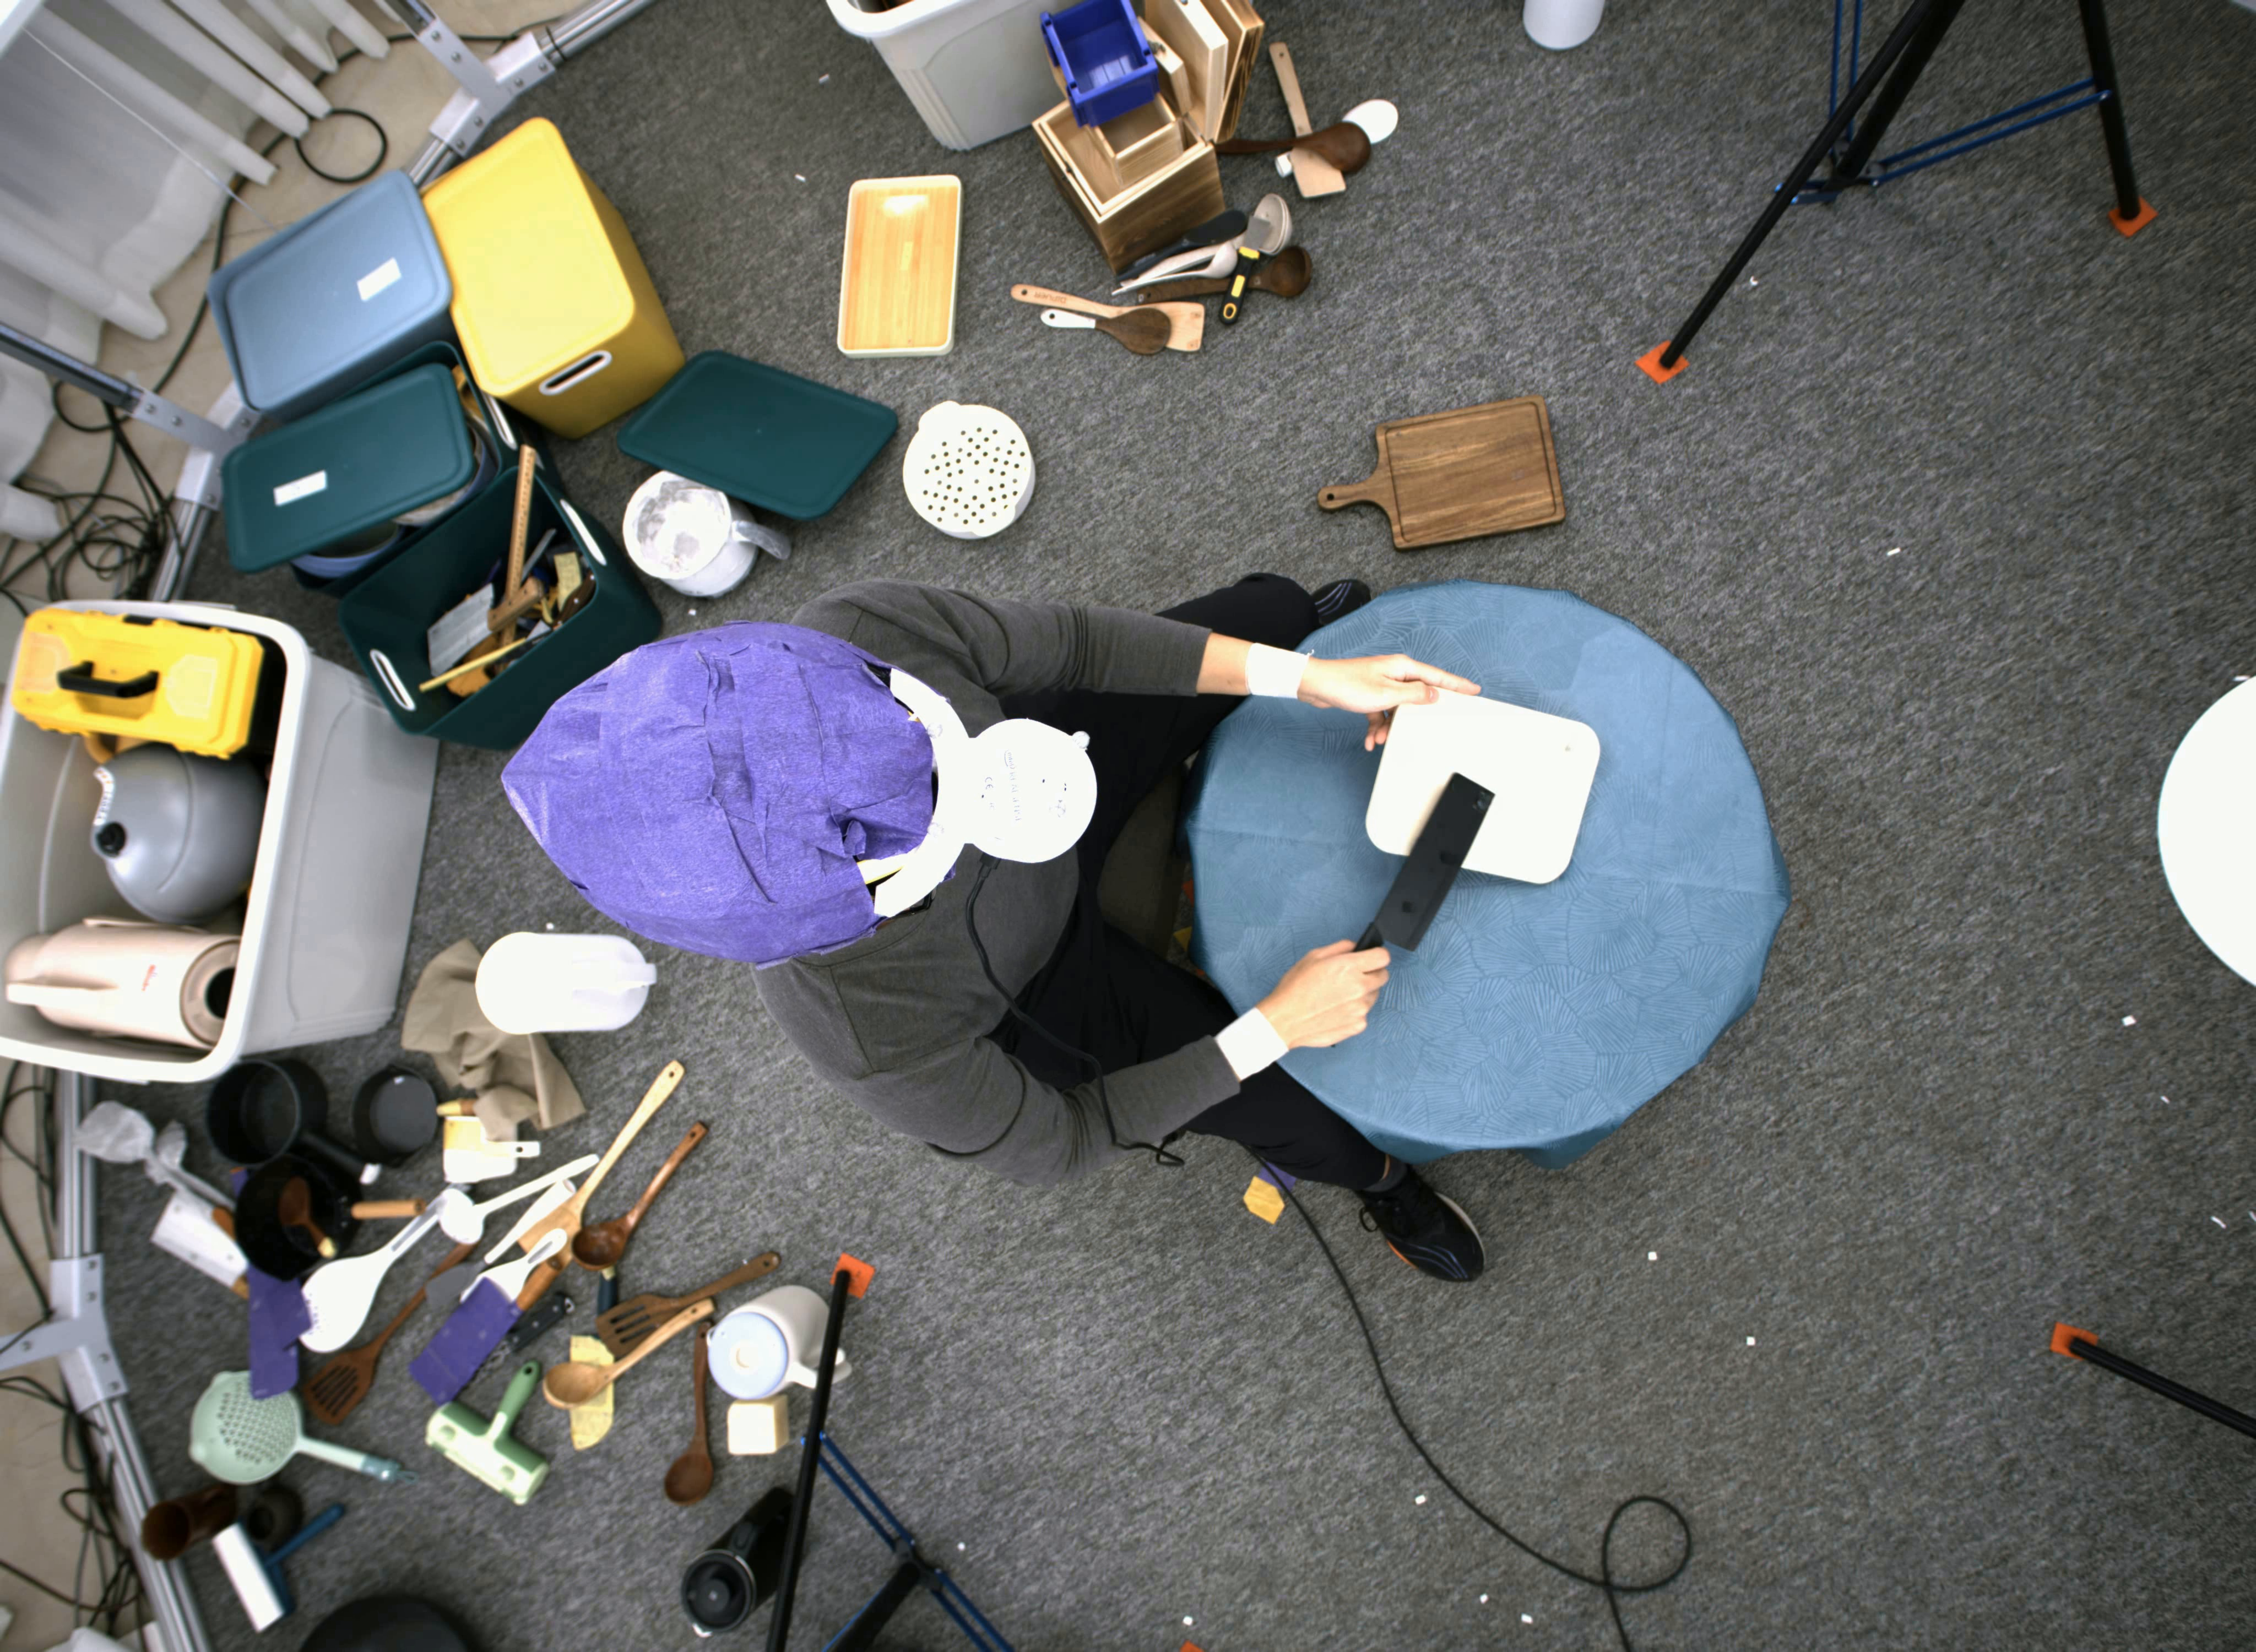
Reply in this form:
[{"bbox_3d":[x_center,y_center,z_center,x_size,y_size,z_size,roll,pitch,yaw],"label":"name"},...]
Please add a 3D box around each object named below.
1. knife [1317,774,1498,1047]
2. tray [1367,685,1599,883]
[{"bbox_3d":[0.276,0.088,1.379,0.081,0.020,0.304,27,98,-29],"label":"knife"},{"bbox_3d":[0.356,-0.042,1.378,0.239,0.017,0.172,11,100,-18],"label":"tray"}]
